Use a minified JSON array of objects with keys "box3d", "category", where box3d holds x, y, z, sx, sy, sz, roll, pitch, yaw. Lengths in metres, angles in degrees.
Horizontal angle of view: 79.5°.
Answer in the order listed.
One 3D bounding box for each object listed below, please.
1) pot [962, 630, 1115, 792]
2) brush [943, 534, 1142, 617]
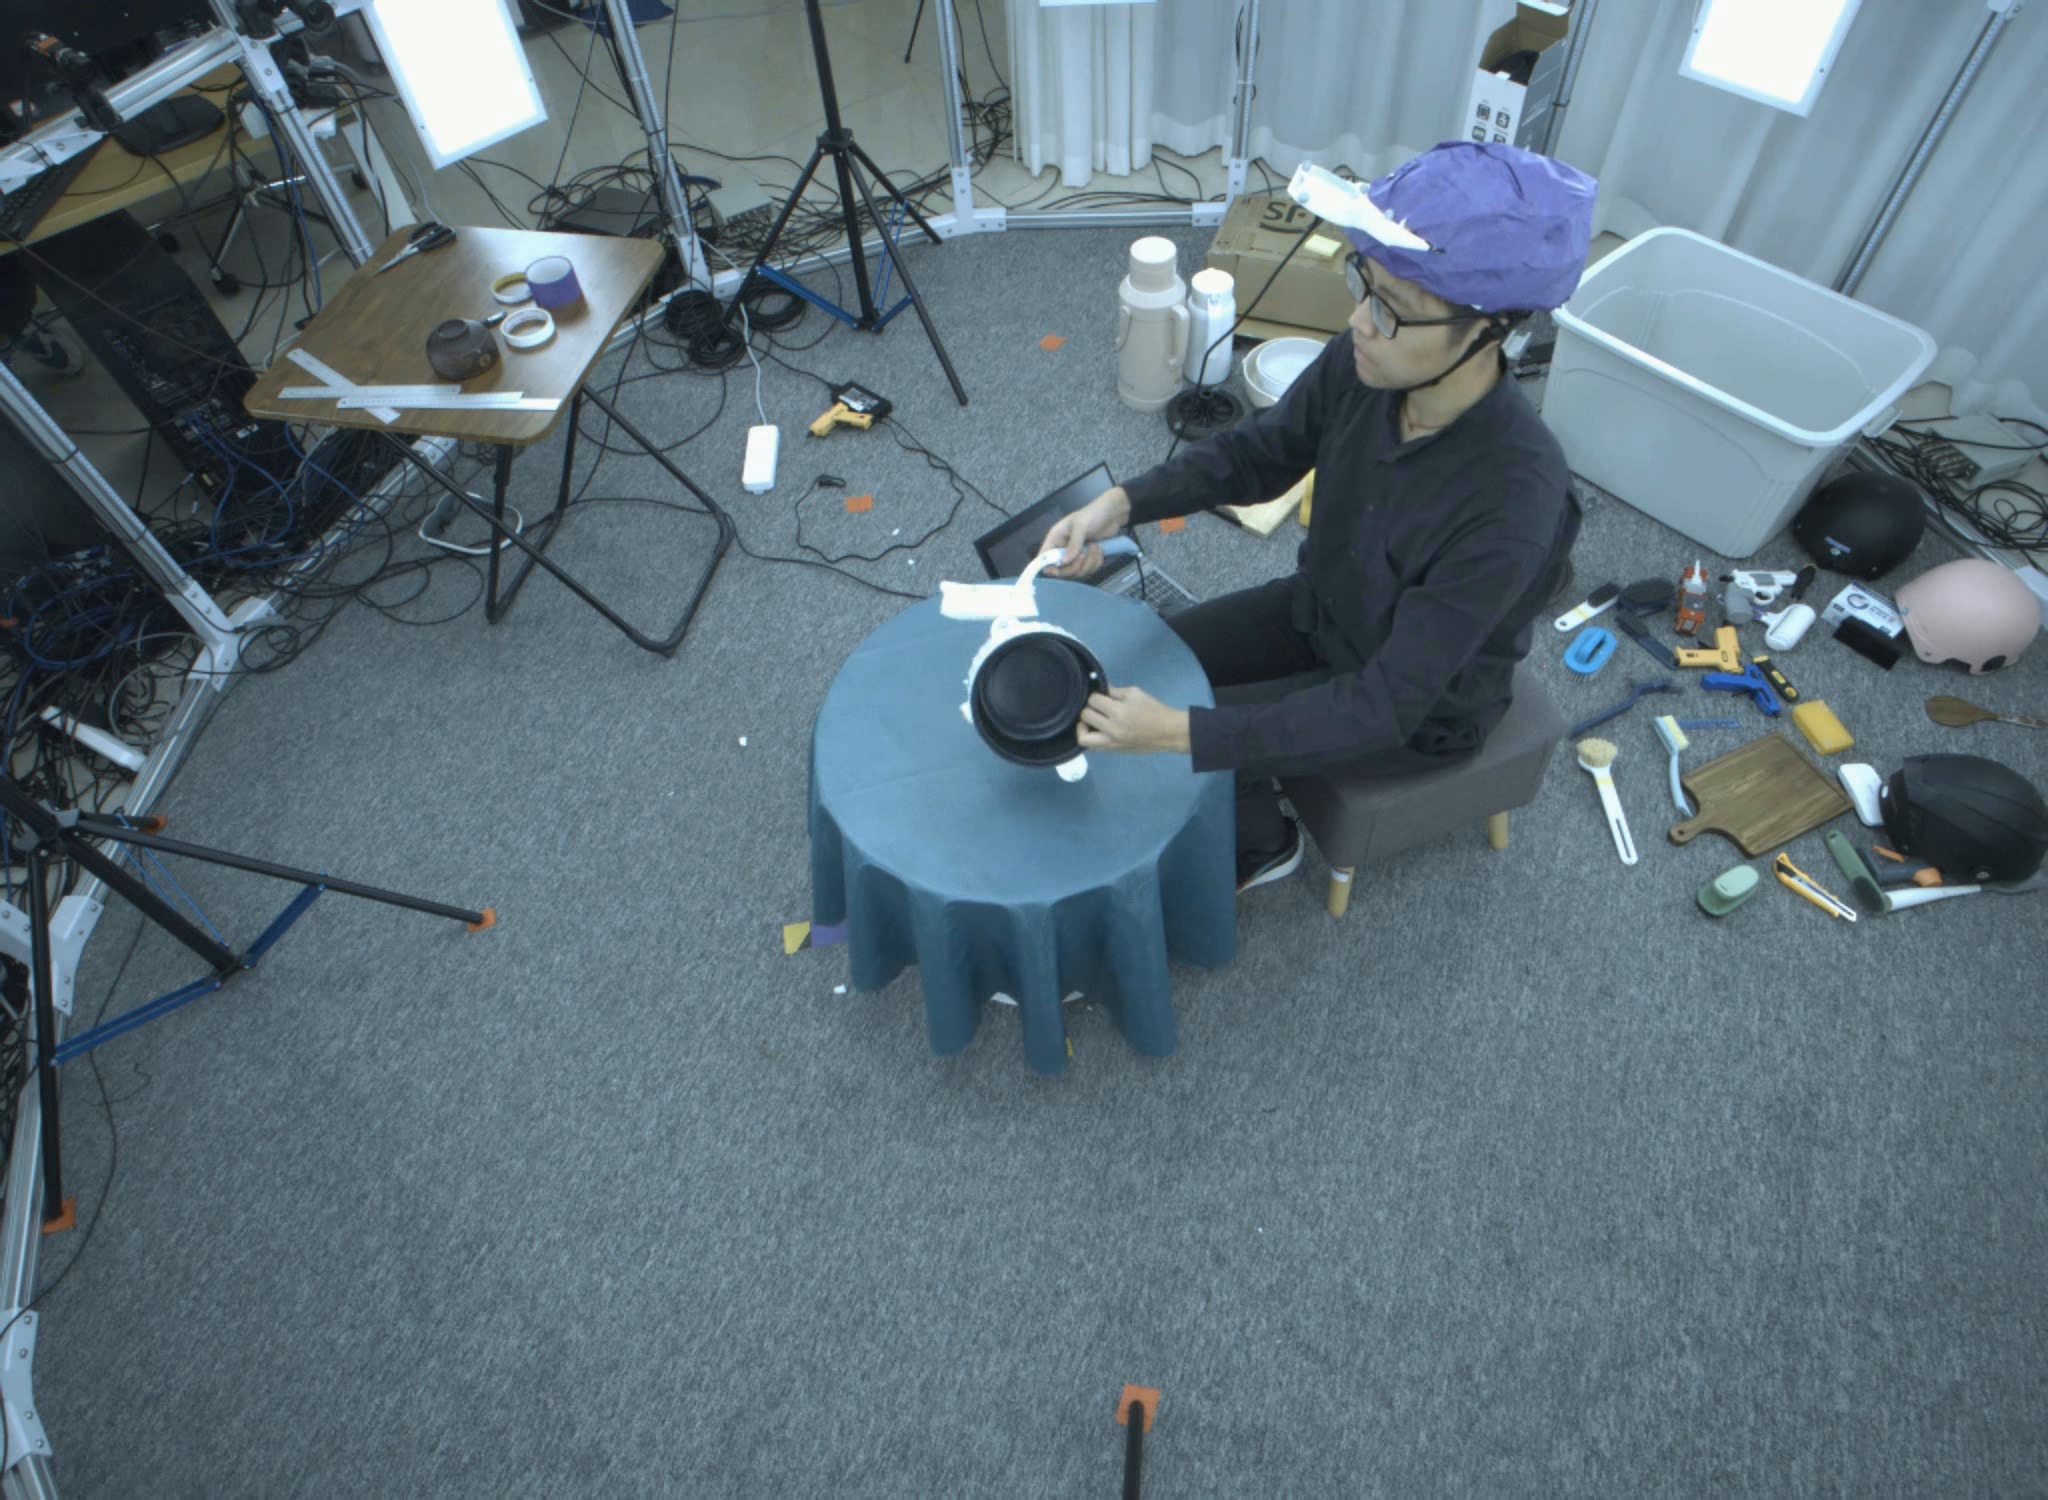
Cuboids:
[{"box3d":[0.012,-0.061,1.640,0.191,0.243,0.141,-28,18,-2],"category":"pot"},{"box3d":[0.038,-0.224,1.682,0.330,0.085,0.081,-16,43,-30],"category":"brush"}]
